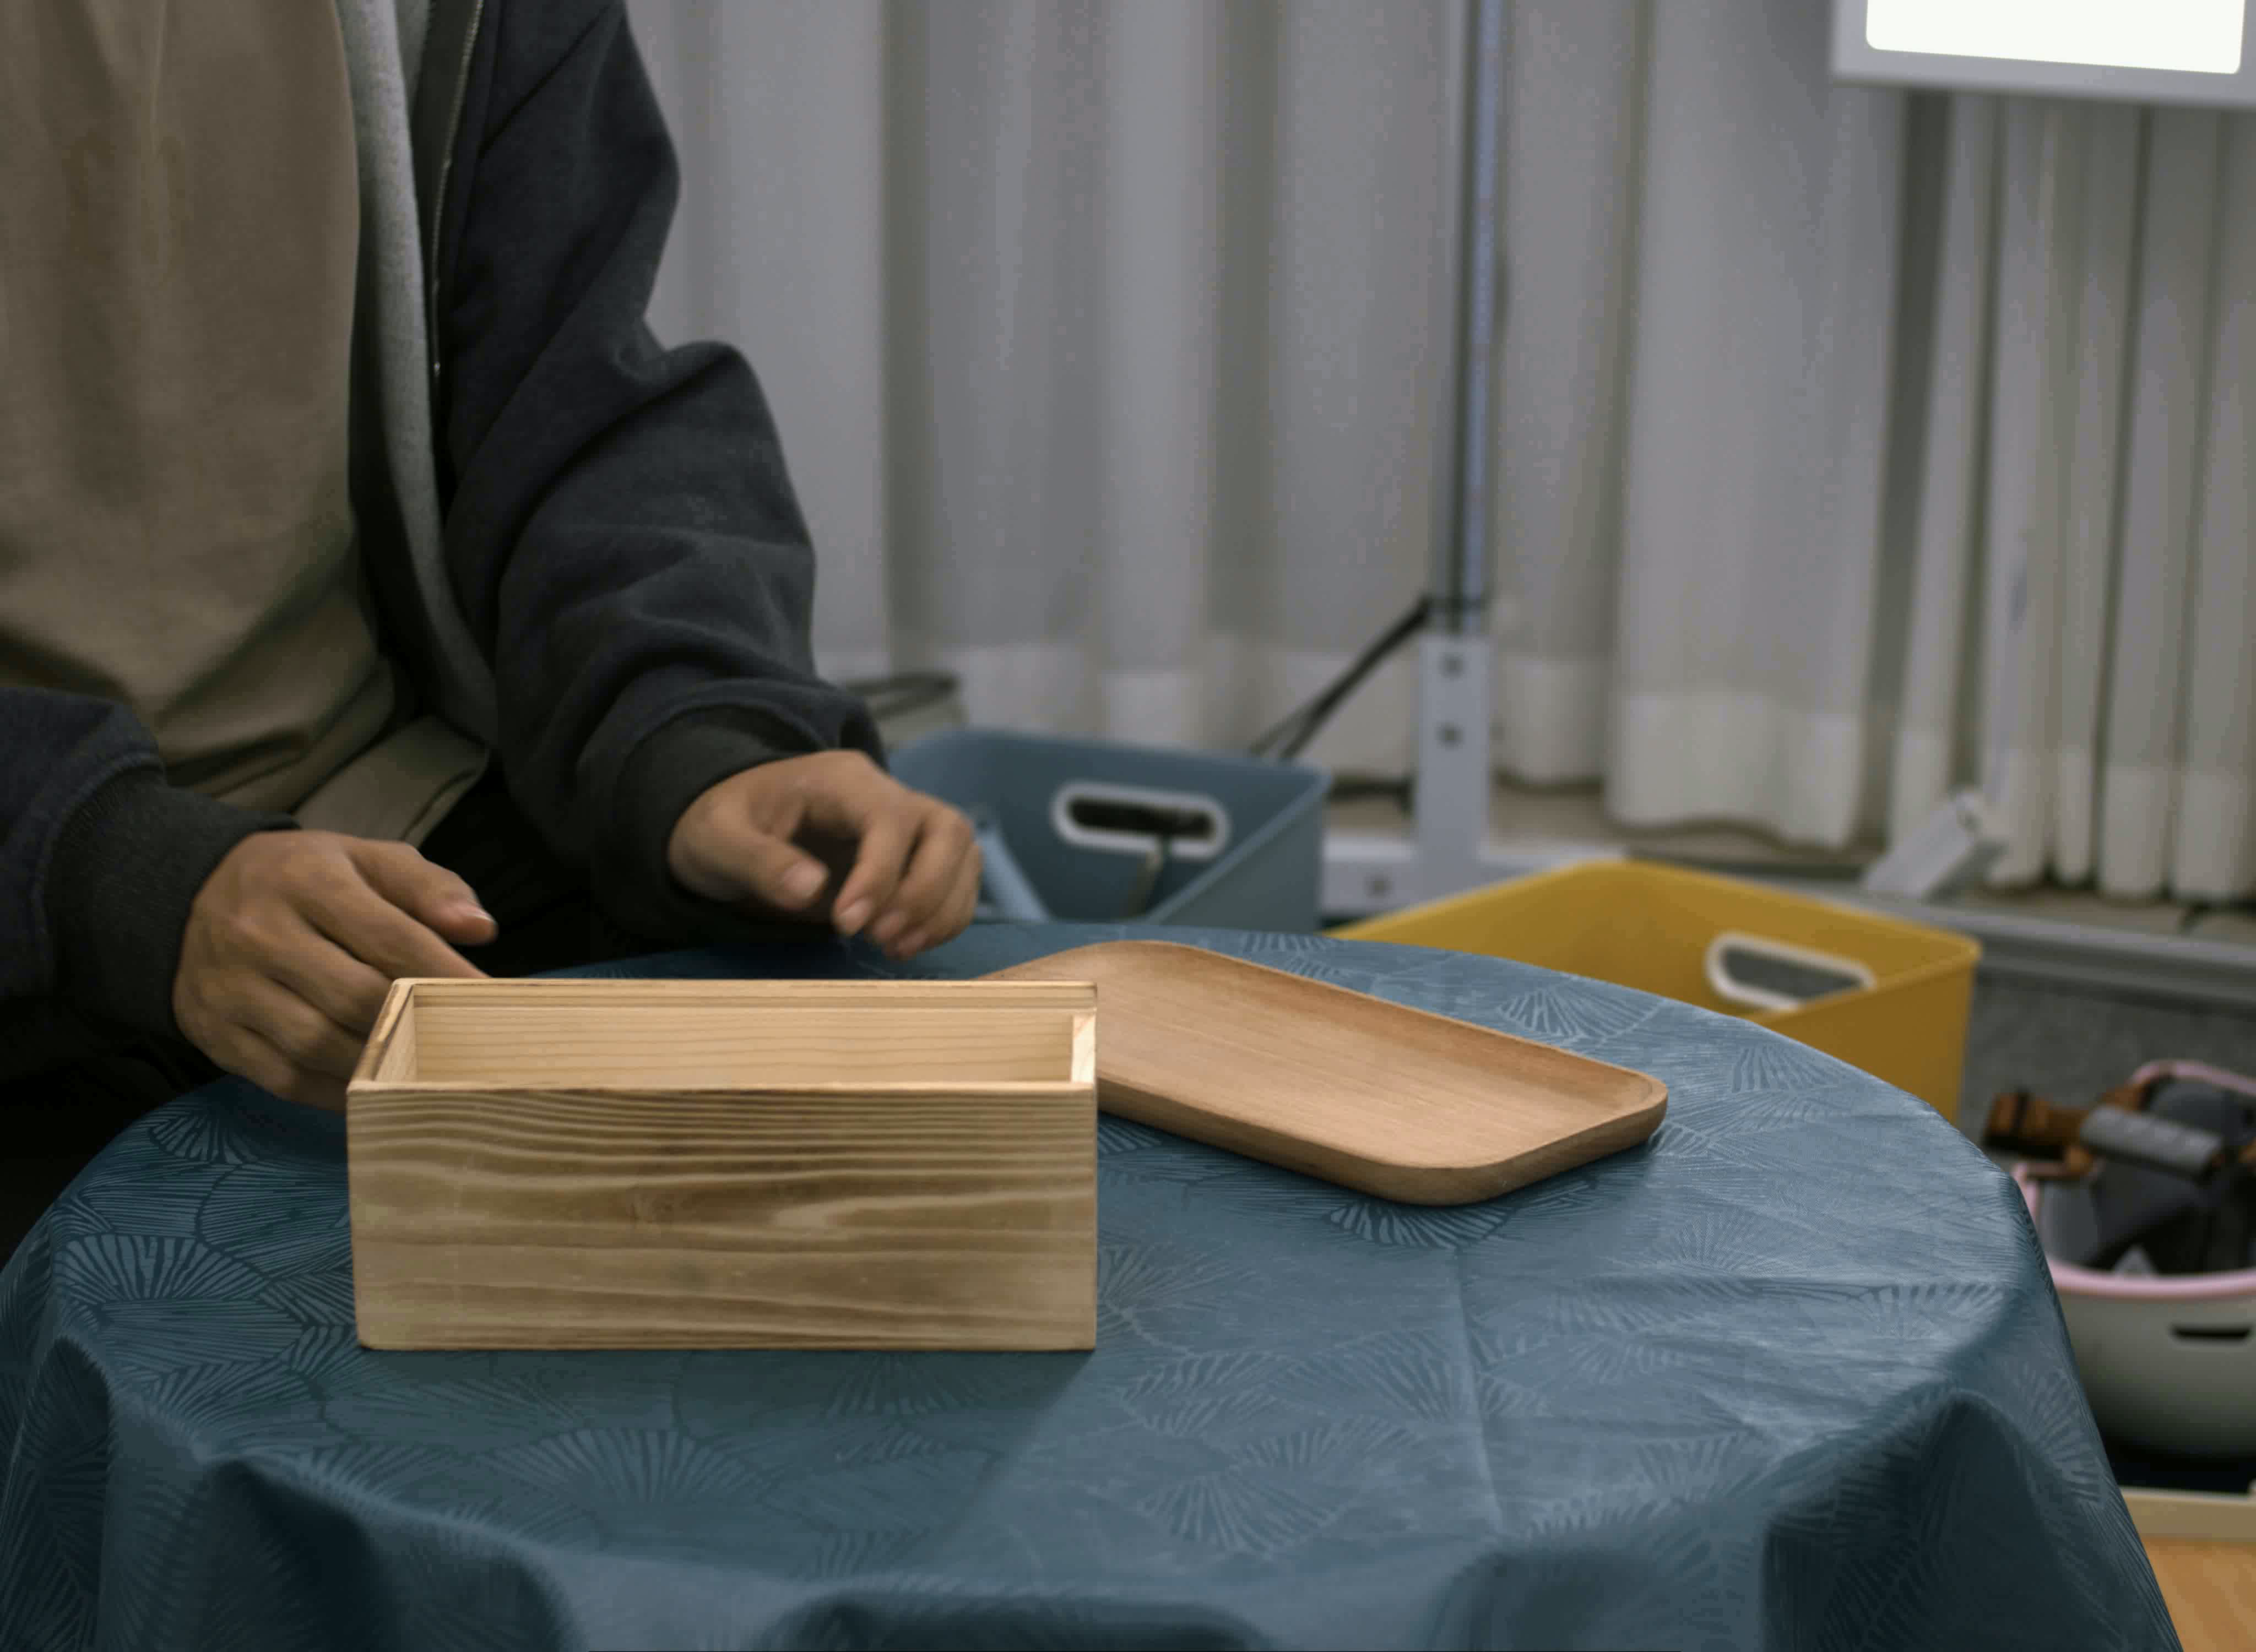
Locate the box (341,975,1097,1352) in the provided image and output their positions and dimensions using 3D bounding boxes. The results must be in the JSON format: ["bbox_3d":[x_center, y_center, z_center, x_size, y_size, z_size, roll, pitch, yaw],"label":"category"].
[{"bbox_3d":[-0.115,0.097,1.527,0.211,0.081,0.107,0,16,-1],"label":"box"}]

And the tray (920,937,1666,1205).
[{"bbox_3d":[0.049,0.078,1.717,0.247,0.023,0.131,14,18,42],"label":"tray"}]
